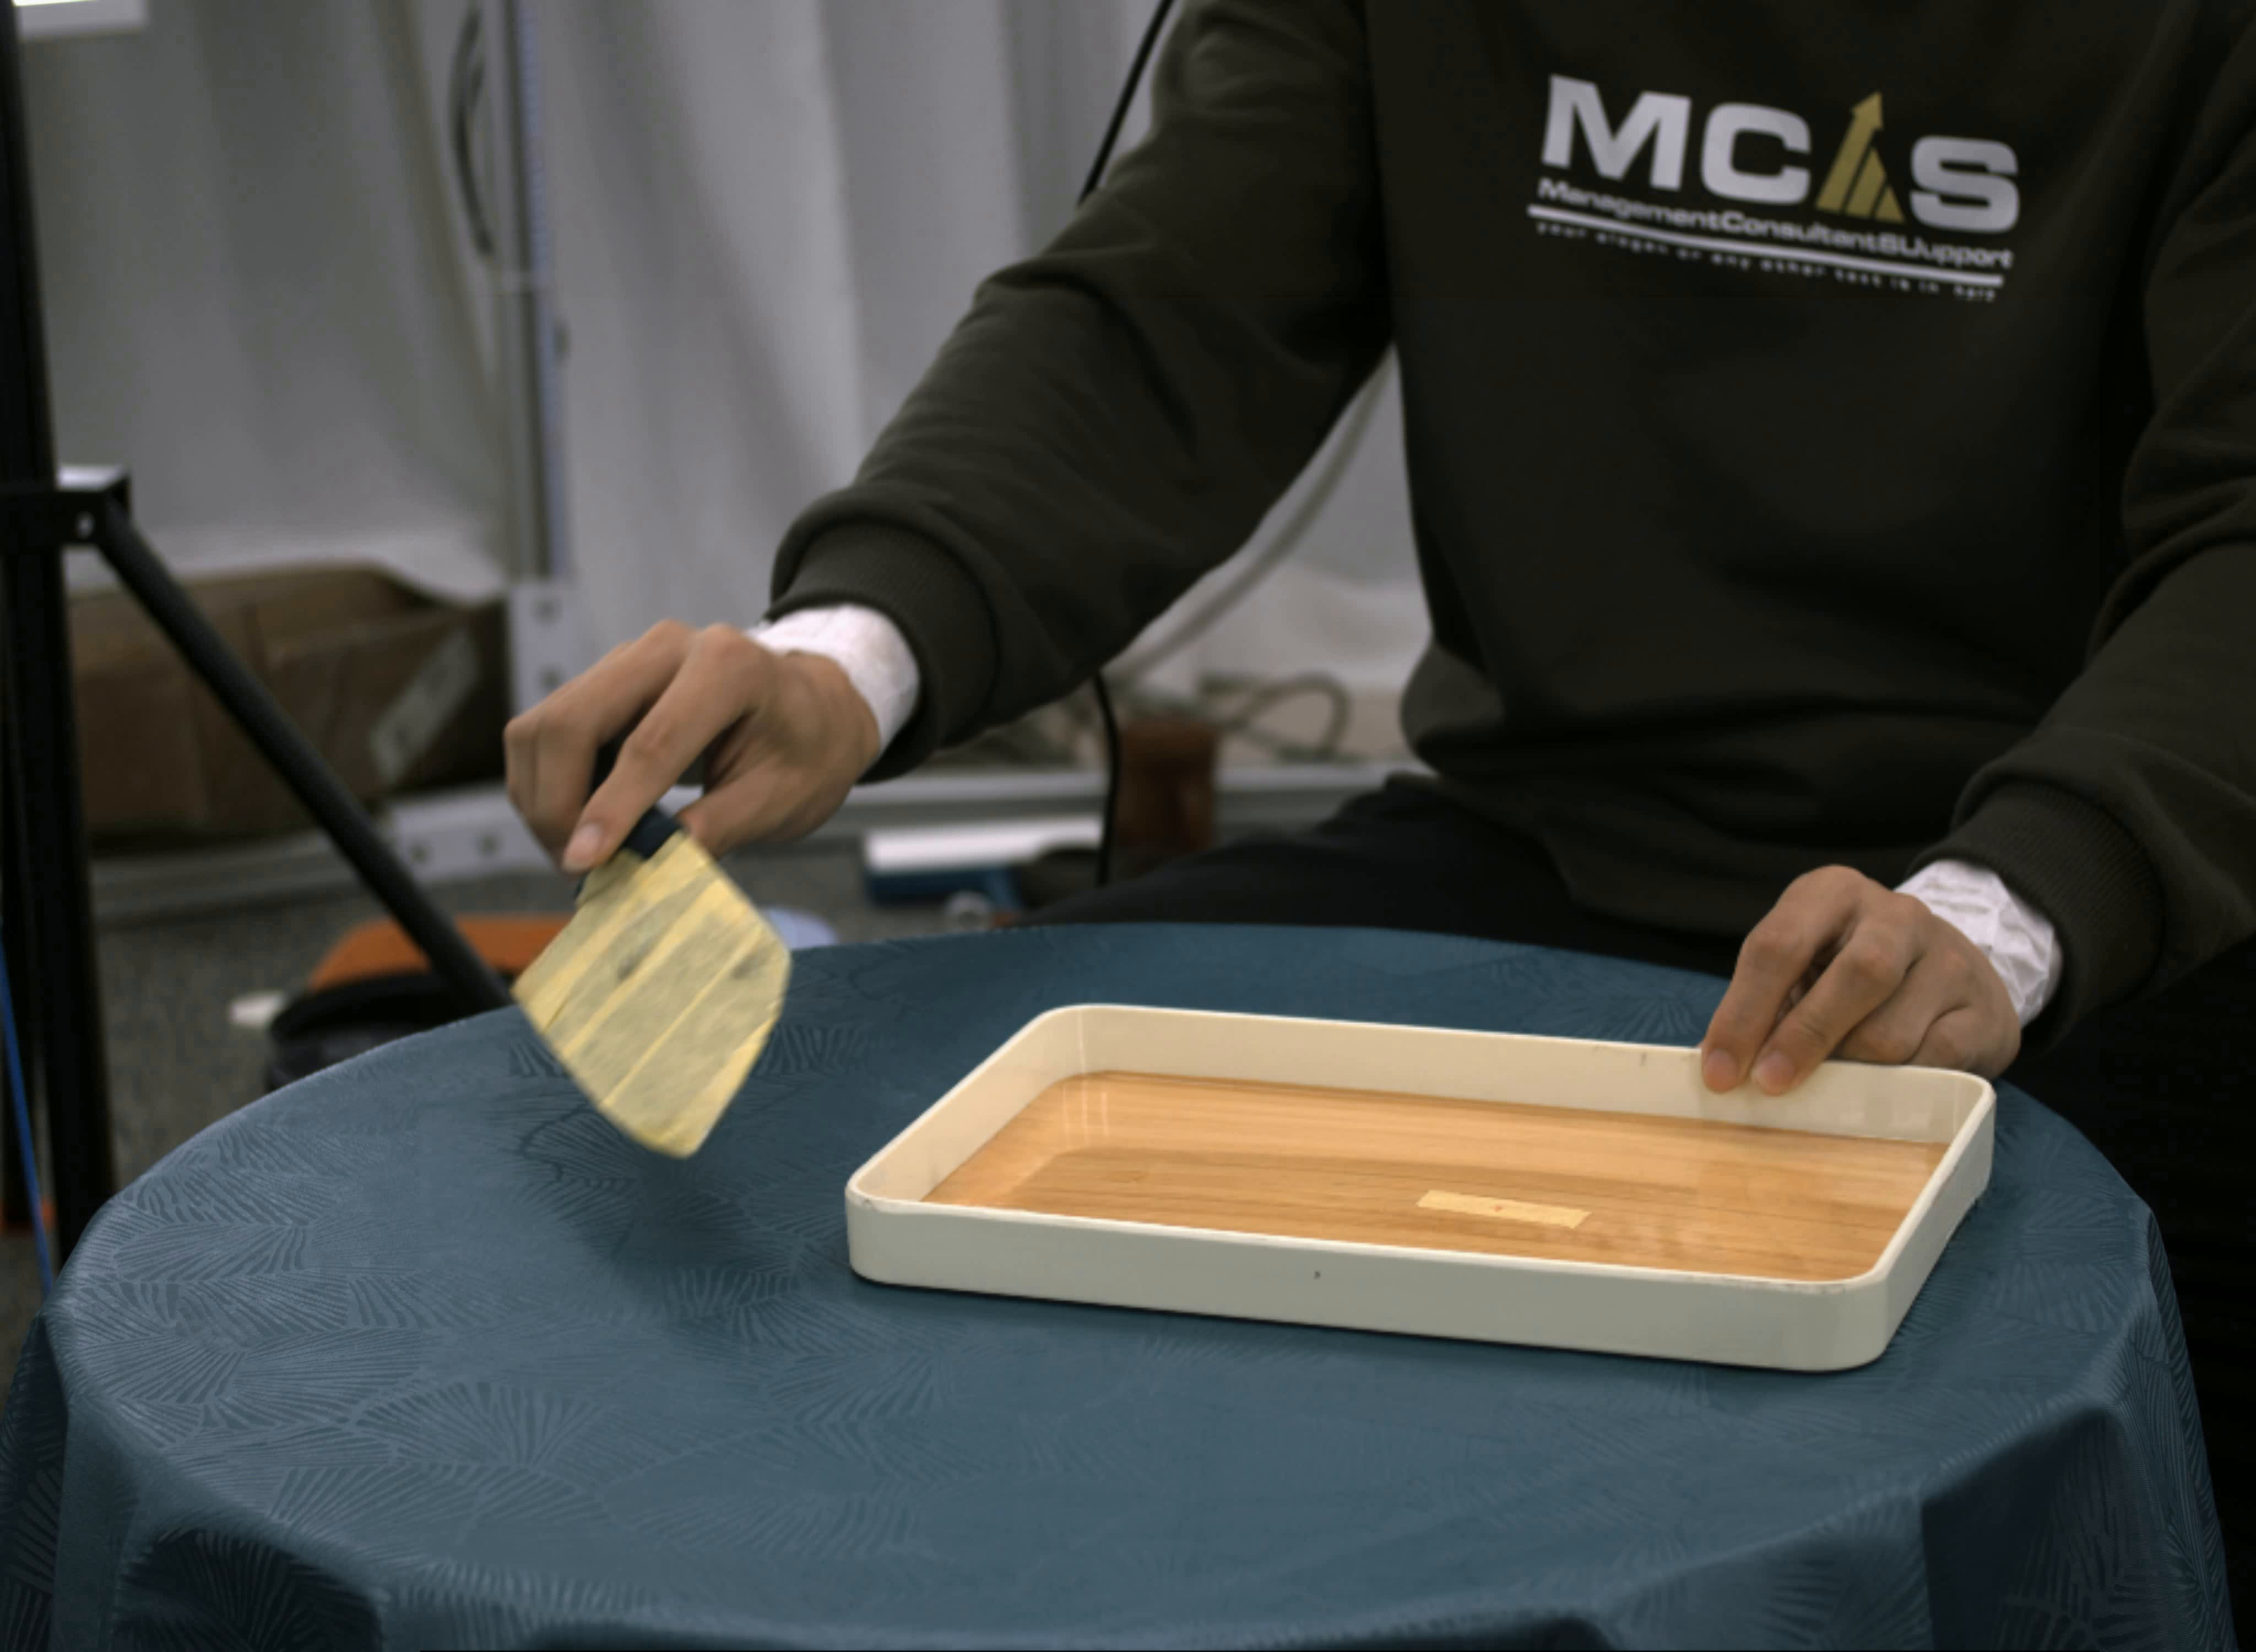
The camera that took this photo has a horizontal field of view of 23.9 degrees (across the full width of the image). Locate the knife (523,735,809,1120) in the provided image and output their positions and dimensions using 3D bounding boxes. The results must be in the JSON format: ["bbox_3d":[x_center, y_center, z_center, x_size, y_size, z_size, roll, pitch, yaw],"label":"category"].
[{"bbox_3d":[-0.151,0.028,1.619,0.081,0.027,0.294,-45,25,0],"label":"knife"}]

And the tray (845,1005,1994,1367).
[{"bbox_3d":[0.087,0.101,1.525,0.304,0.027,0.189,4,16,21],"label":"tray"}]
